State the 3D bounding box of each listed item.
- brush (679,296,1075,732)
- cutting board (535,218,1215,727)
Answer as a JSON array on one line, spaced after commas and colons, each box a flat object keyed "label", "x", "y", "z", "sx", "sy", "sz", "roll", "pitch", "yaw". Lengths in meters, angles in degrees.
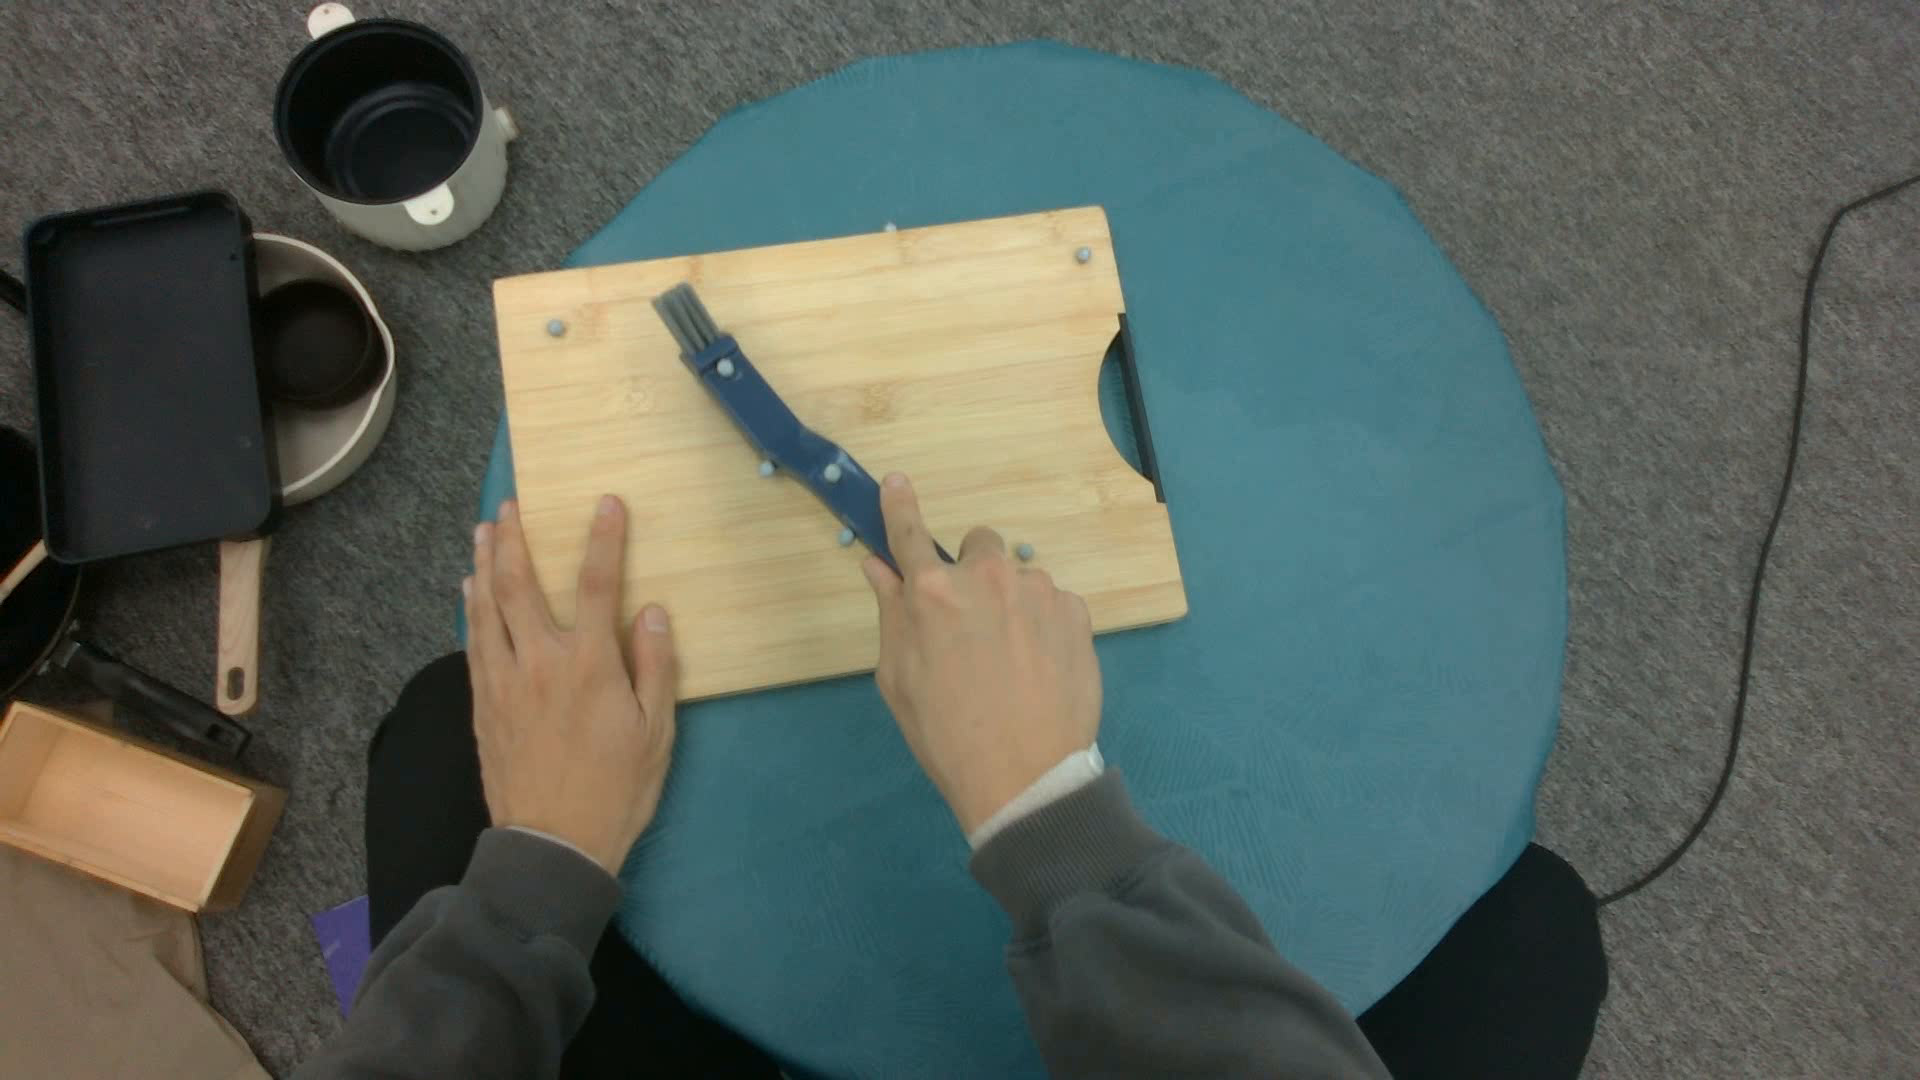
[{"label": "brush", "x": -0.049, "y": -0.017, "z": 0.663, "sx": 0.033, "sy": 0.095, "sz": 0.273, "roll": -35, "pitch": 55, "yaw": -20}, {"label": "cutting board", "x": -0.052, "y": -0.043, "z": 0.764, "sx": 0.349, "sy": 0.023, "sz": 0.251, "roll": -10, "pitch": 78, "yaw": -6}]
